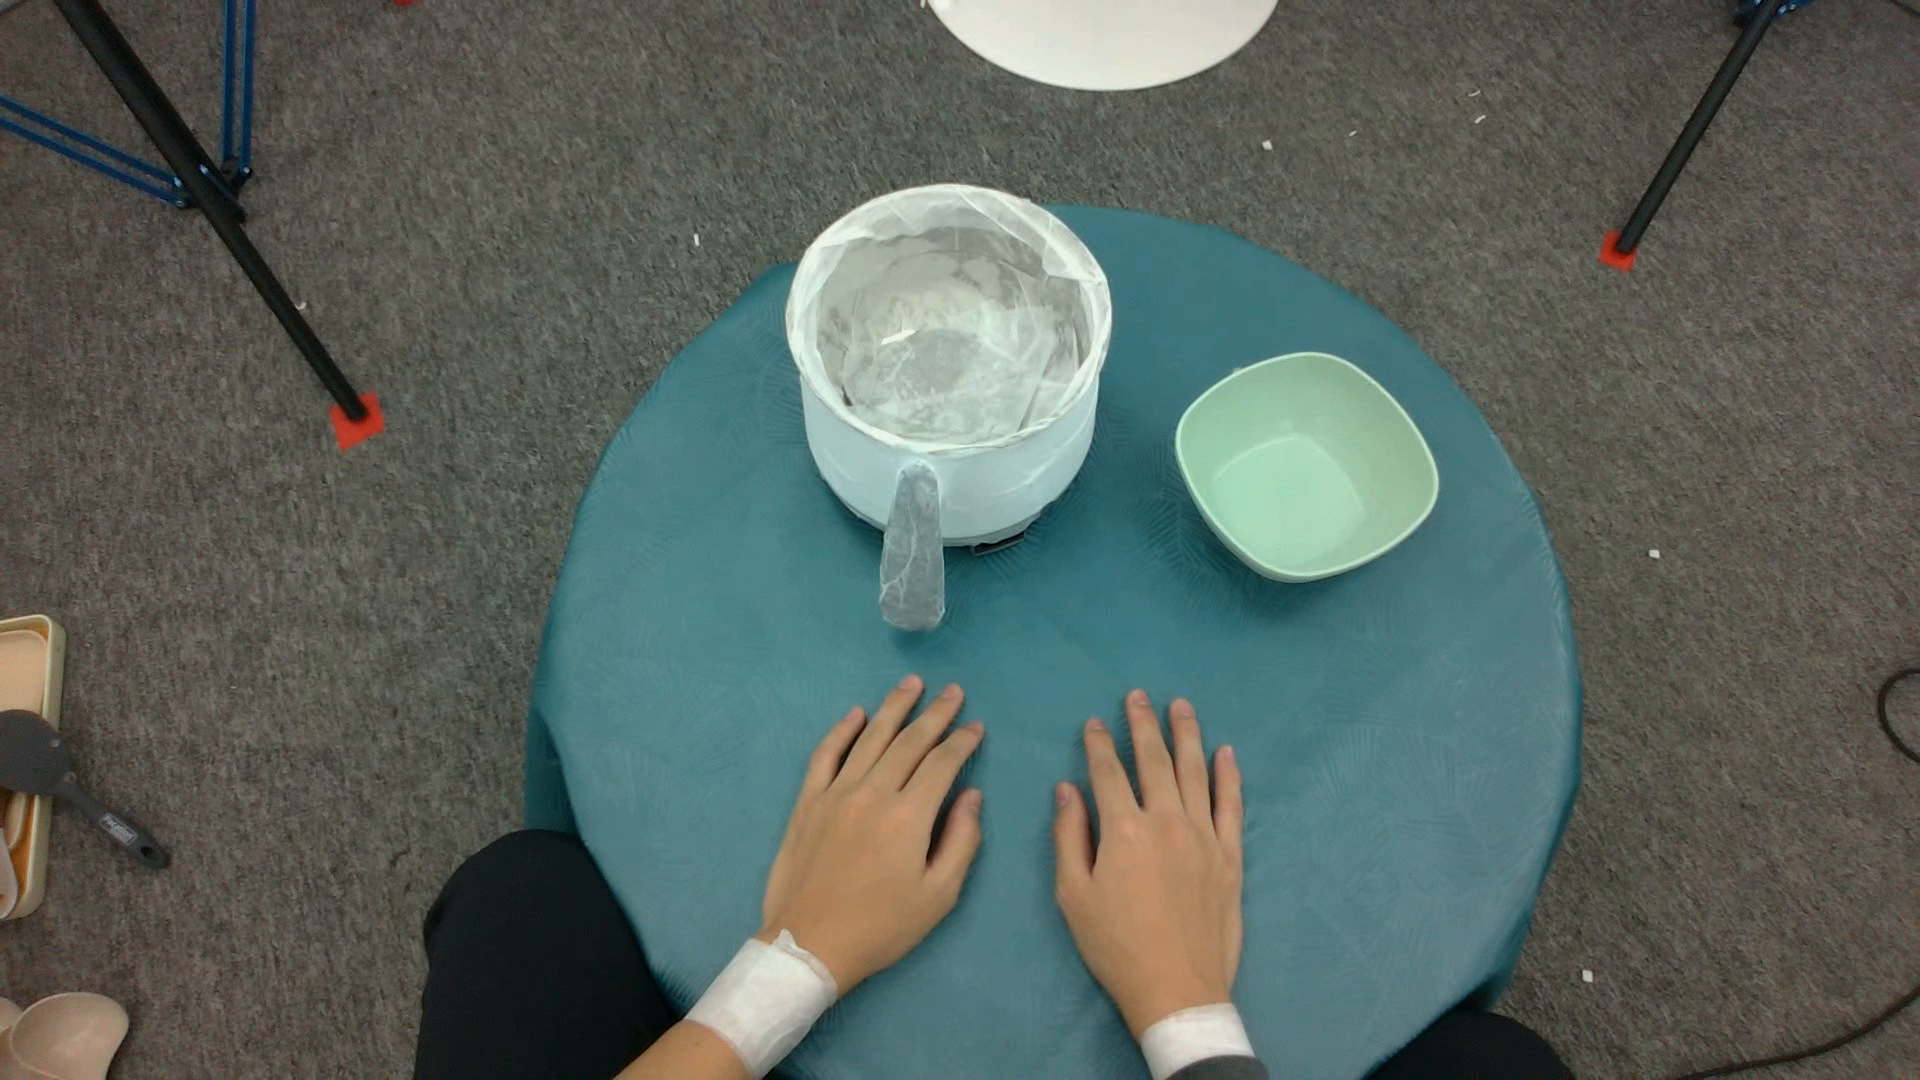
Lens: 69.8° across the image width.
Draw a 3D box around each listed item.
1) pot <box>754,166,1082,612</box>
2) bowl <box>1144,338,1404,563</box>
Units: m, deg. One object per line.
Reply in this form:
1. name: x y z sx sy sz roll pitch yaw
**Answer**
1. pot: -0.028 -0.081 0.790 0.179 0.136 0.234 8 65 1
2. bowl: 0.181 -0.044 0.822 0.151 0.058 0.152 1 62 -1
